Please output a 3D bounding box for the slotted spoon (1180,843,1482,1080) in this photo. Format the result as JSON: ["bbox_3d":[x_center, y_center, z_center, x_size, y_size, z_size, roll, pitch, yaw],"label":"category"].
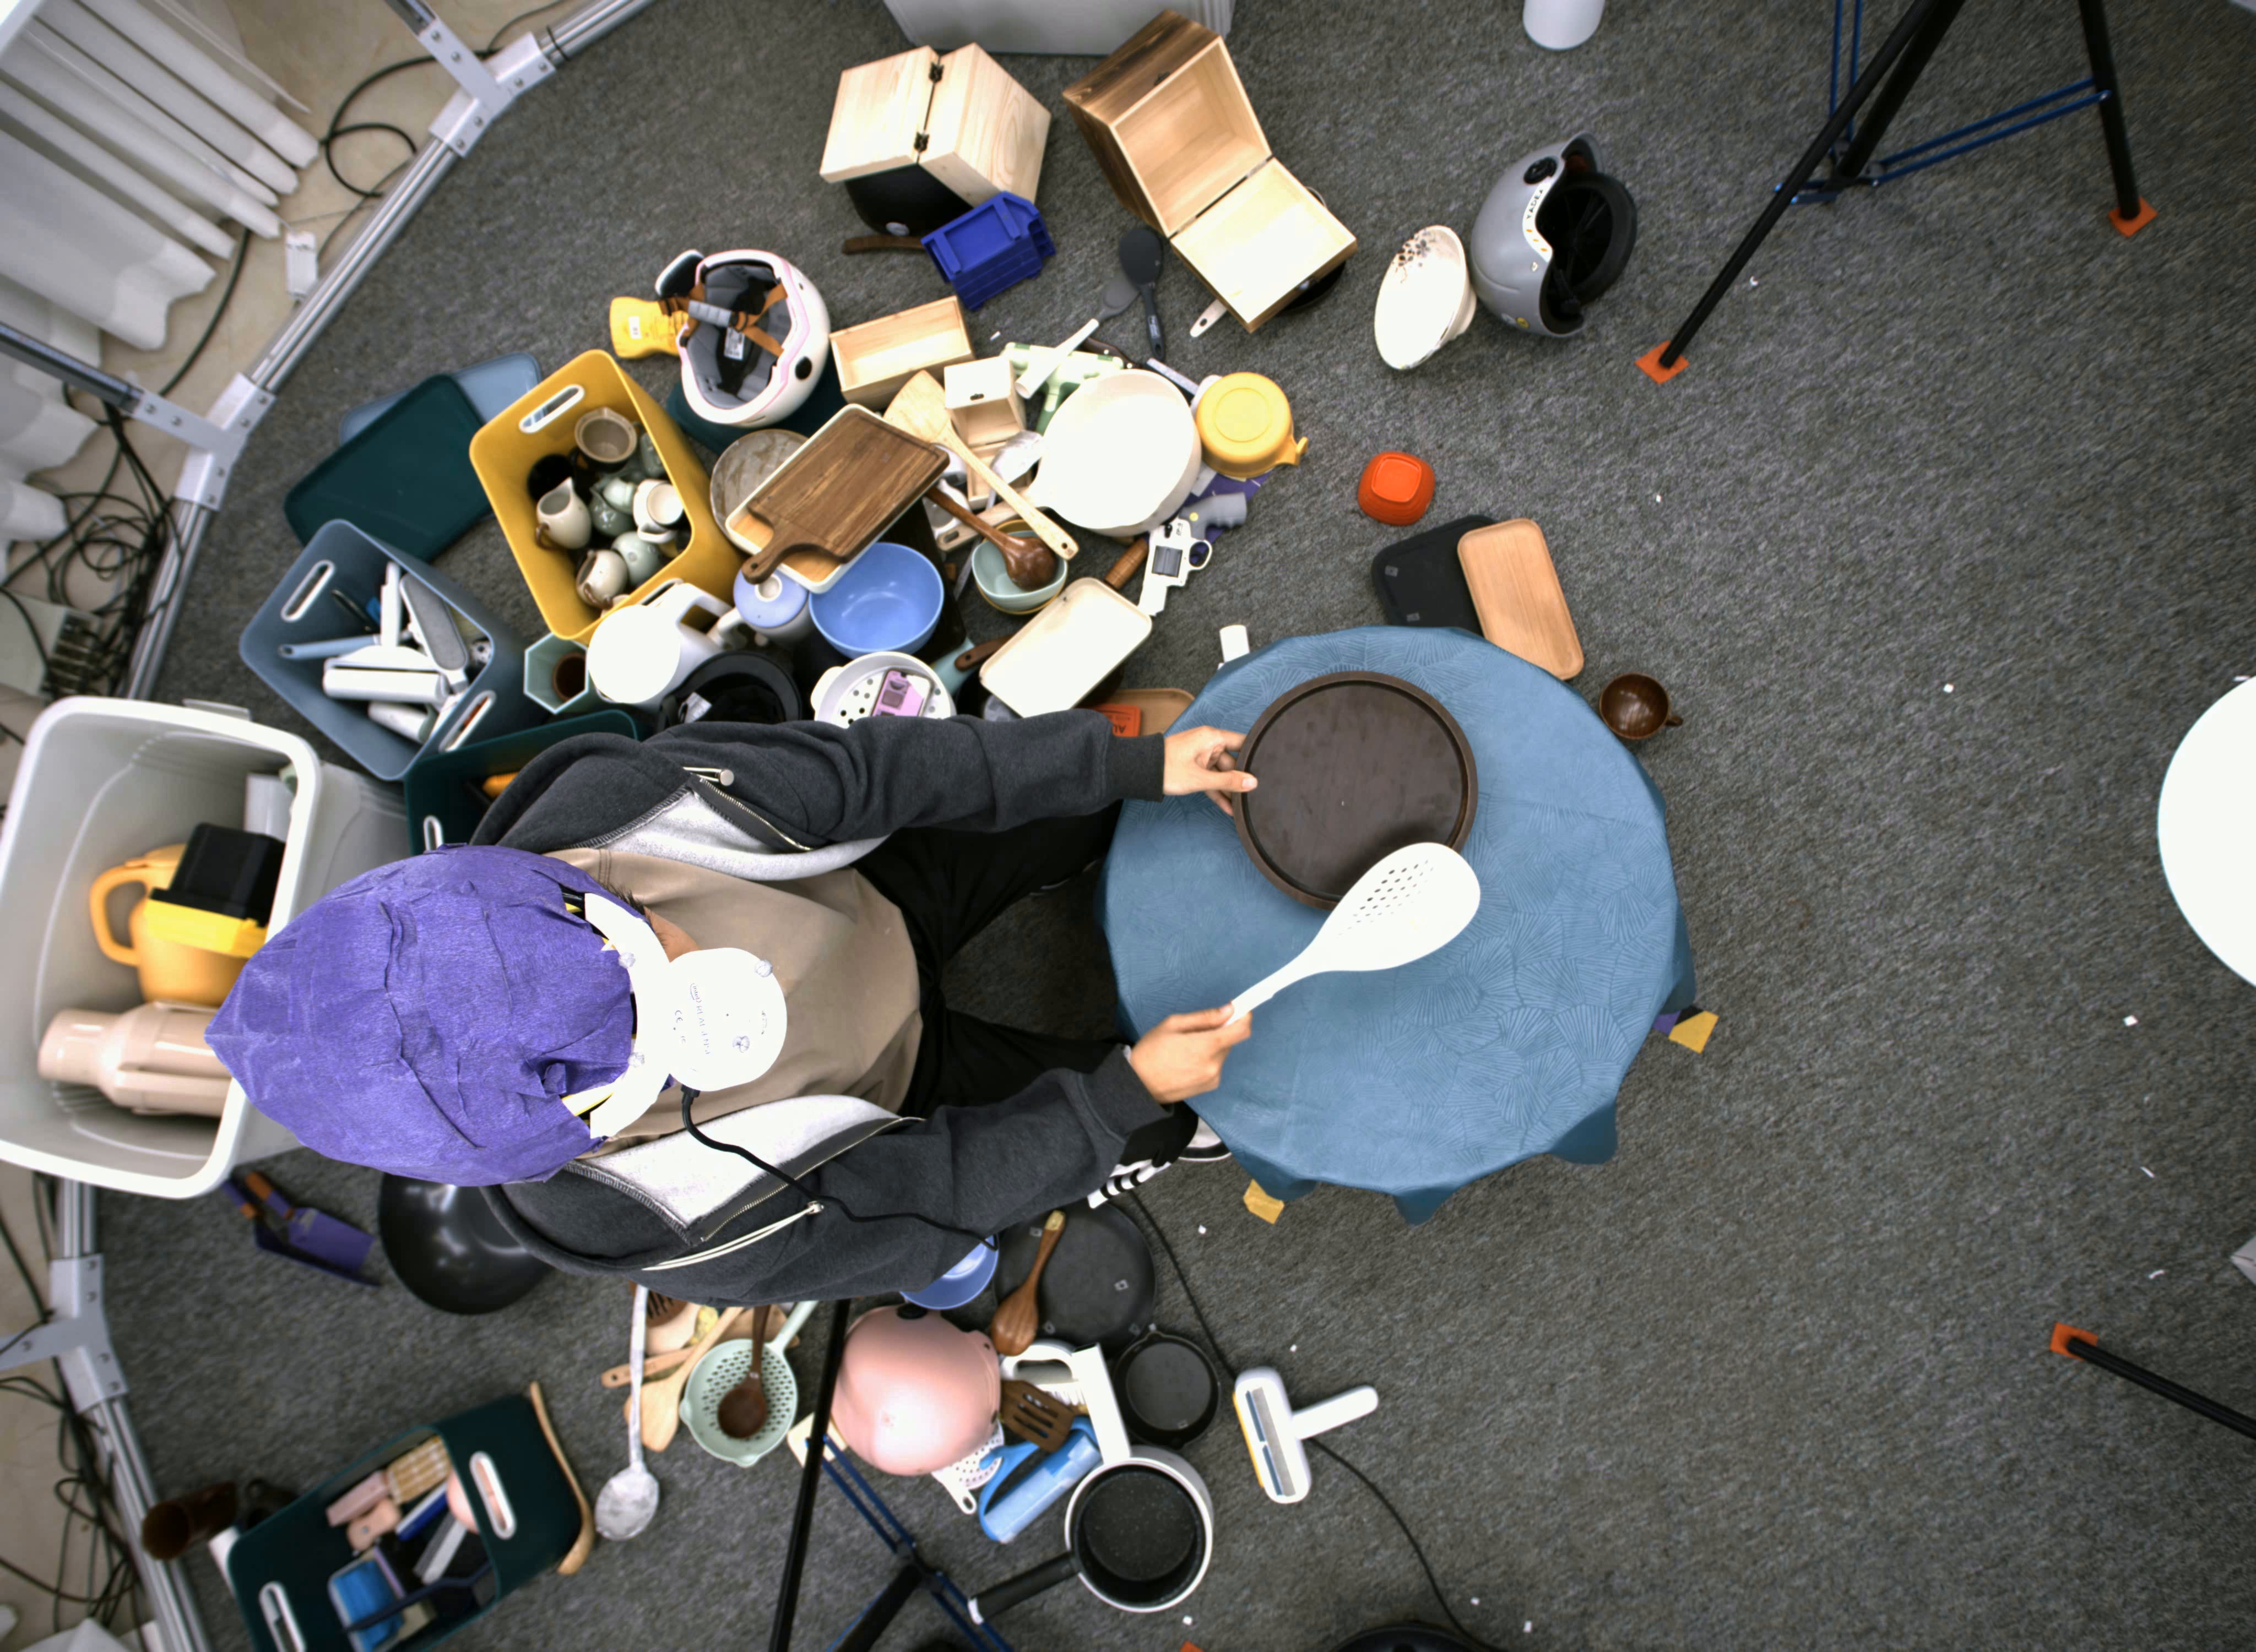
[{"bbox_3d":[0.189,0.140,1.353,0.349,0.051,0.134,-31,40,6],"label":"slotted spoon"}]

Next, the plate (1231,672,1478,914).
[{"bbox_3d":[0.232,-0.034,1.419,0.255,0.028,0.257,1,104,3],"label":"plate"}]
